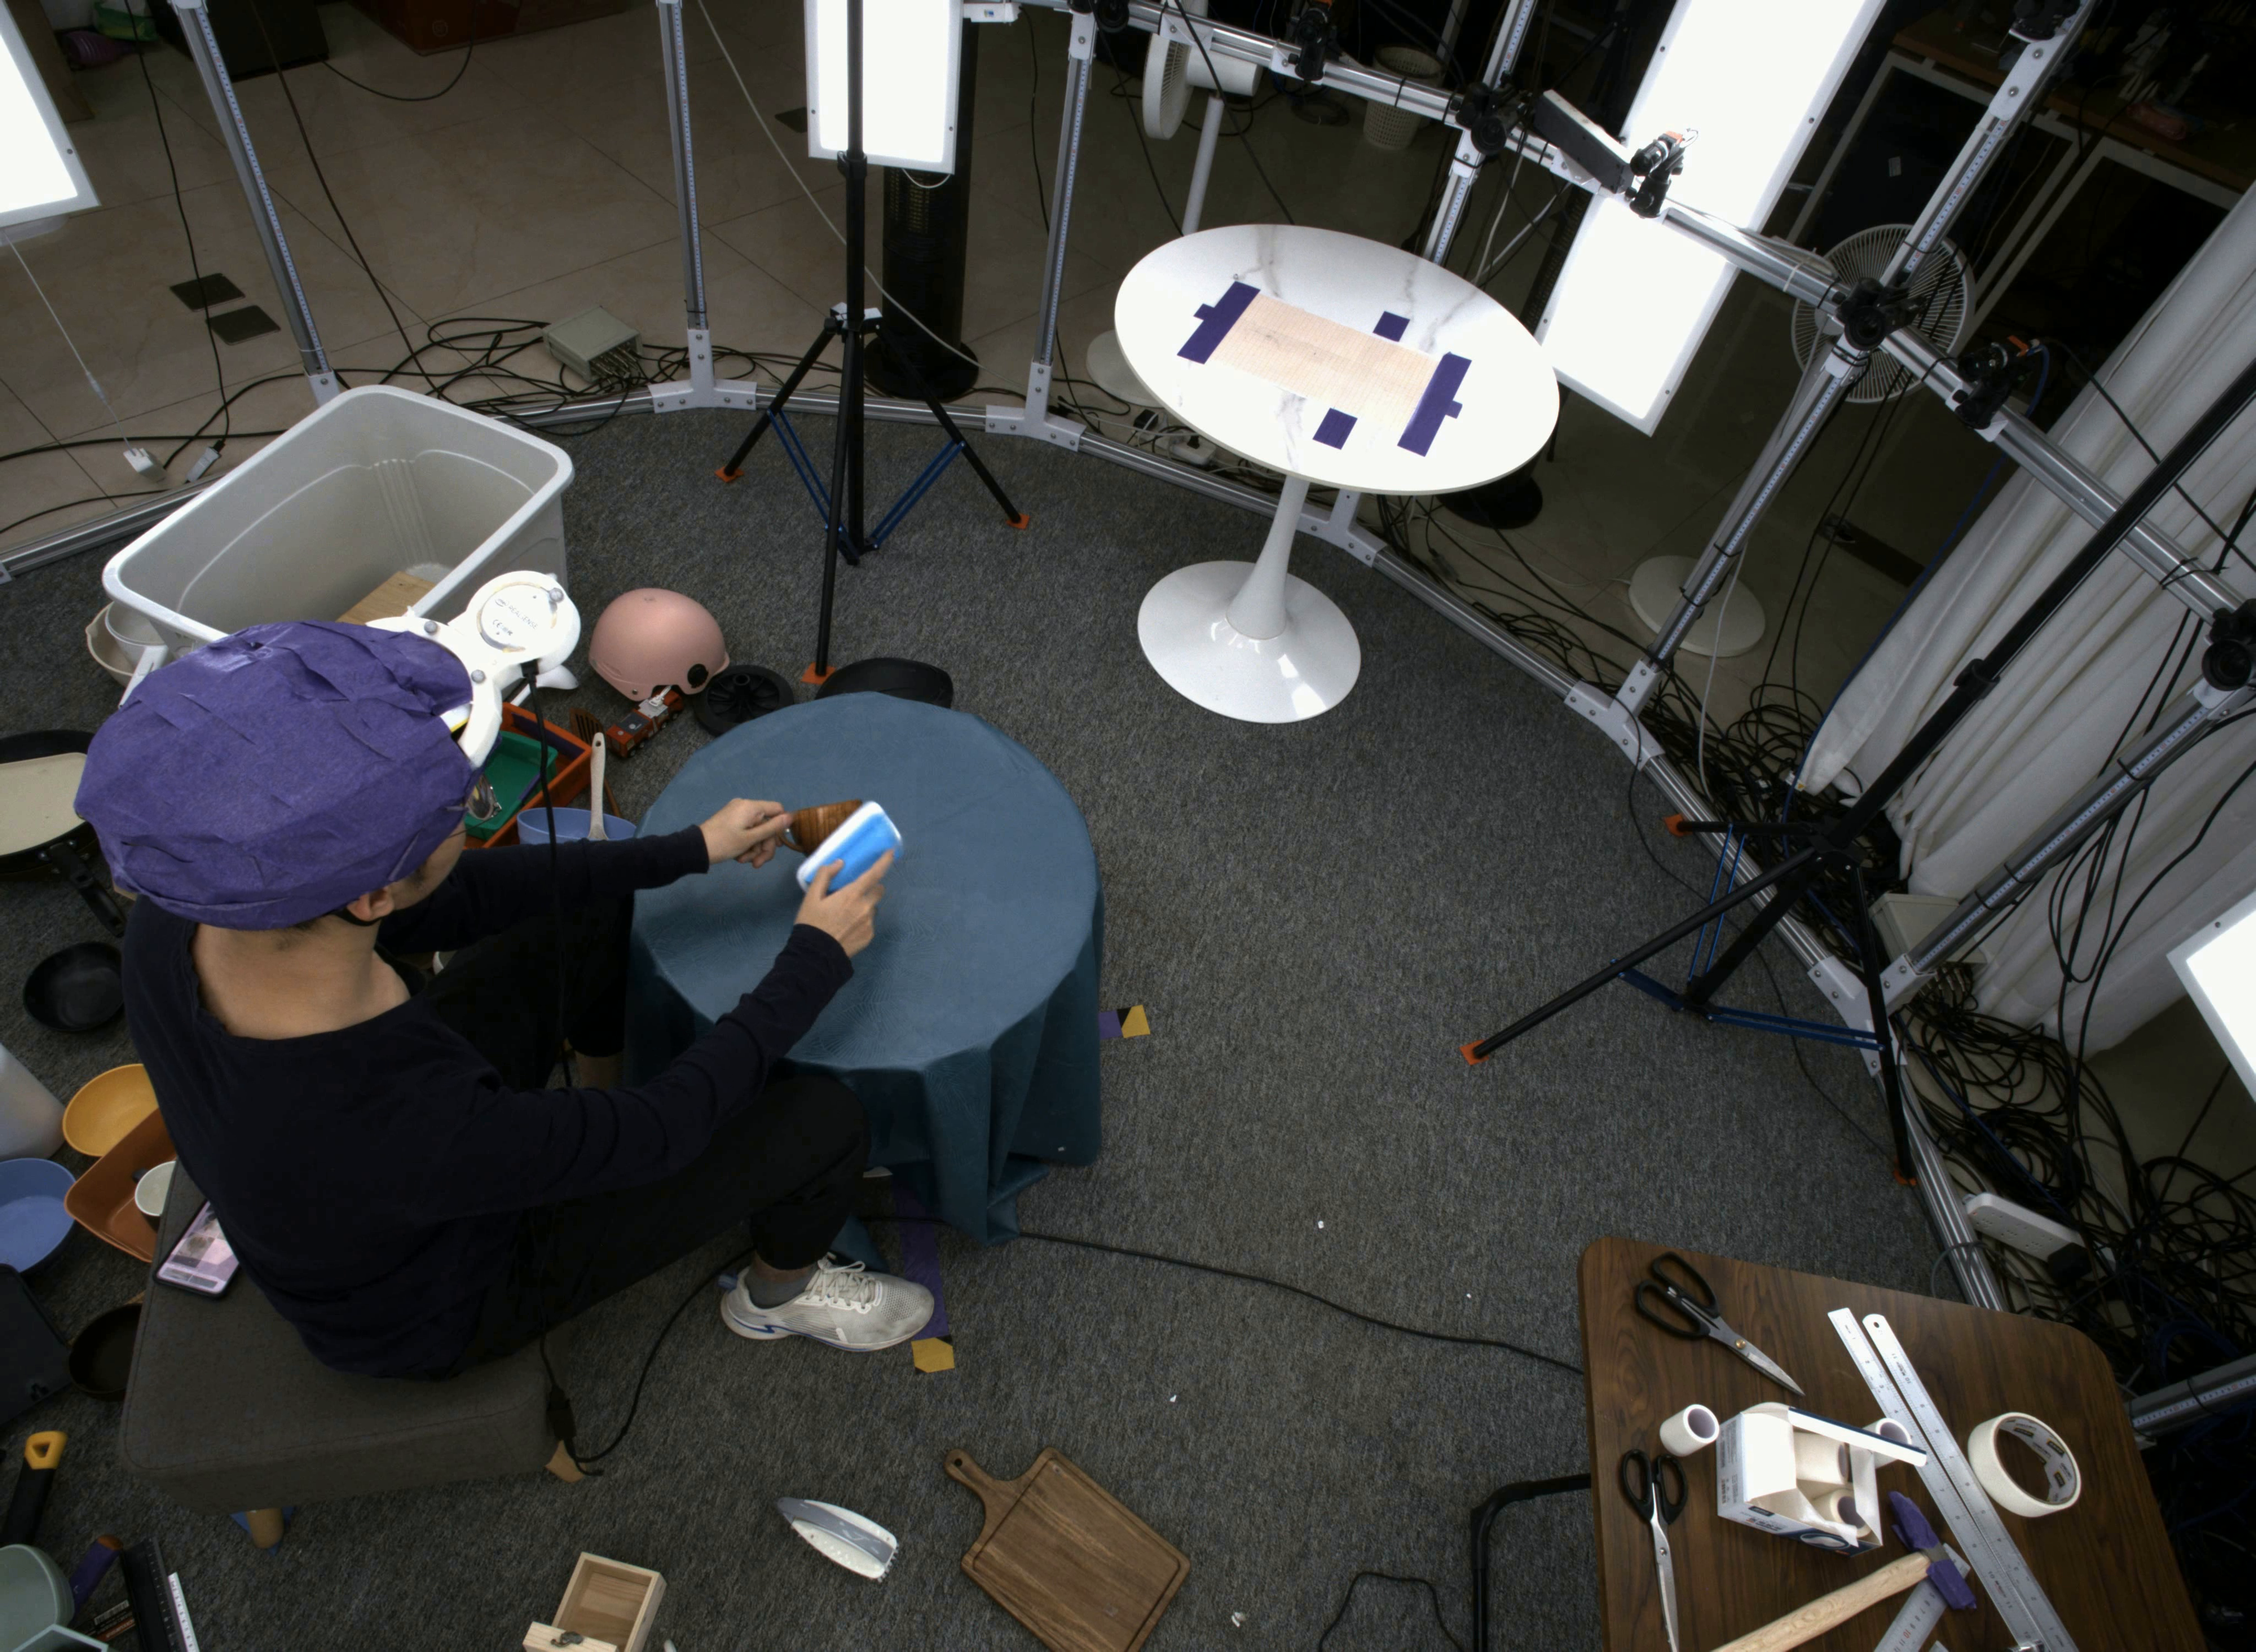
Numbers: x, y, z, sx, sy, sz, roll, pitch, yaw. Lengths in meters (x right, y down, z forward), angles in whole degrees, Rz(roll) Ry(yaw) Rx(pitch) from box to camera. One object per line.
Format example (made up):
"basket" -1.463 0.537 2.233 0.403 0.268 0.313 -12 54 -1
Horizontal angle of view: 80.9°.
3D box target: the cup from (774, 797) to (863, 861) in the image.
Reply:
"cup" -0.387 0.007 1.625 0.121 0.093 0.069 -18 103 -42

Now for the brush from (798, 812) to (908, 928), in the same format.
"brush" -0.324 0.051 1.565 0.054 0.087 0.144 8 45 46
